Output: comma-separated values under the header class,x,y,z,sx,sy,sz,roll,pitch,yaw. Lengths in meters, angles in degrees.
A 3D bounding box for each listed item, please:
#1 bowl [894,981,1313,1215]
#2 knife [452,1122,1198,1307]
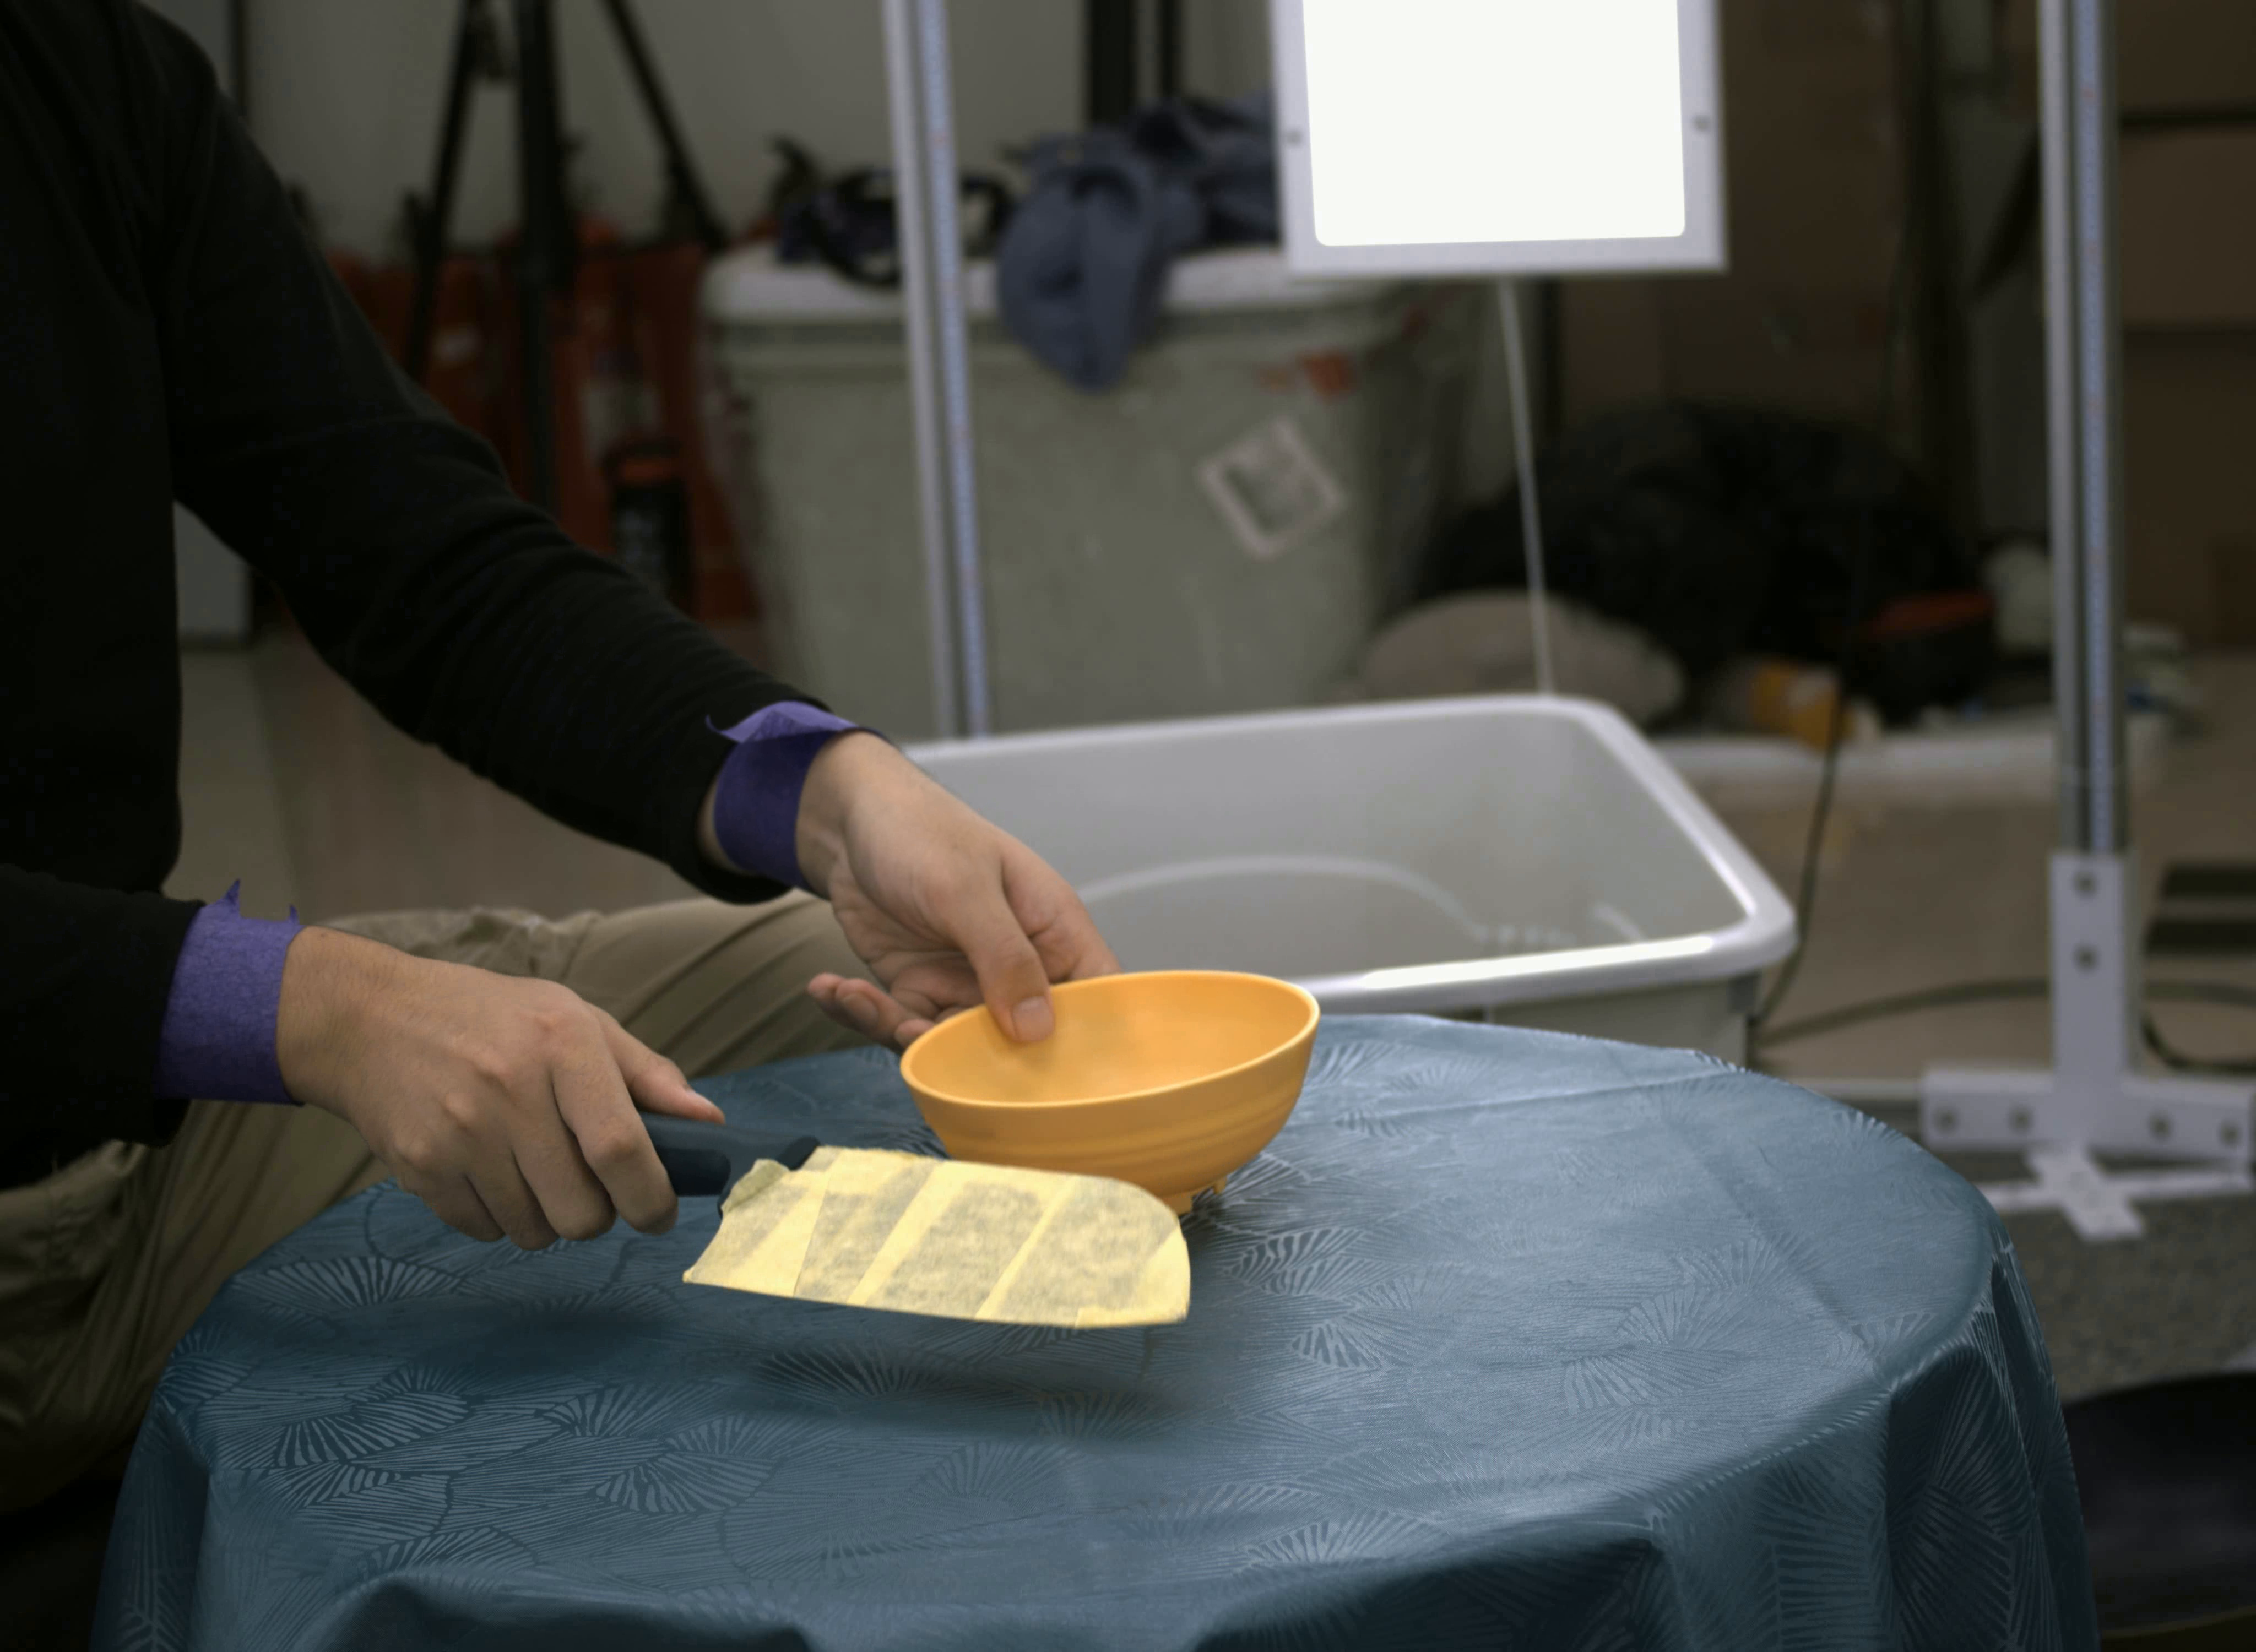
class,x,y,z,sx,sy,sz,roll,pitch,yaw
bowl,-0.006,0.099,1.882,0.145,0.060,0.145,-6,13,0
knife,-0.103,0.124,1.750,0.295,0.027,0.079,4,35,33
